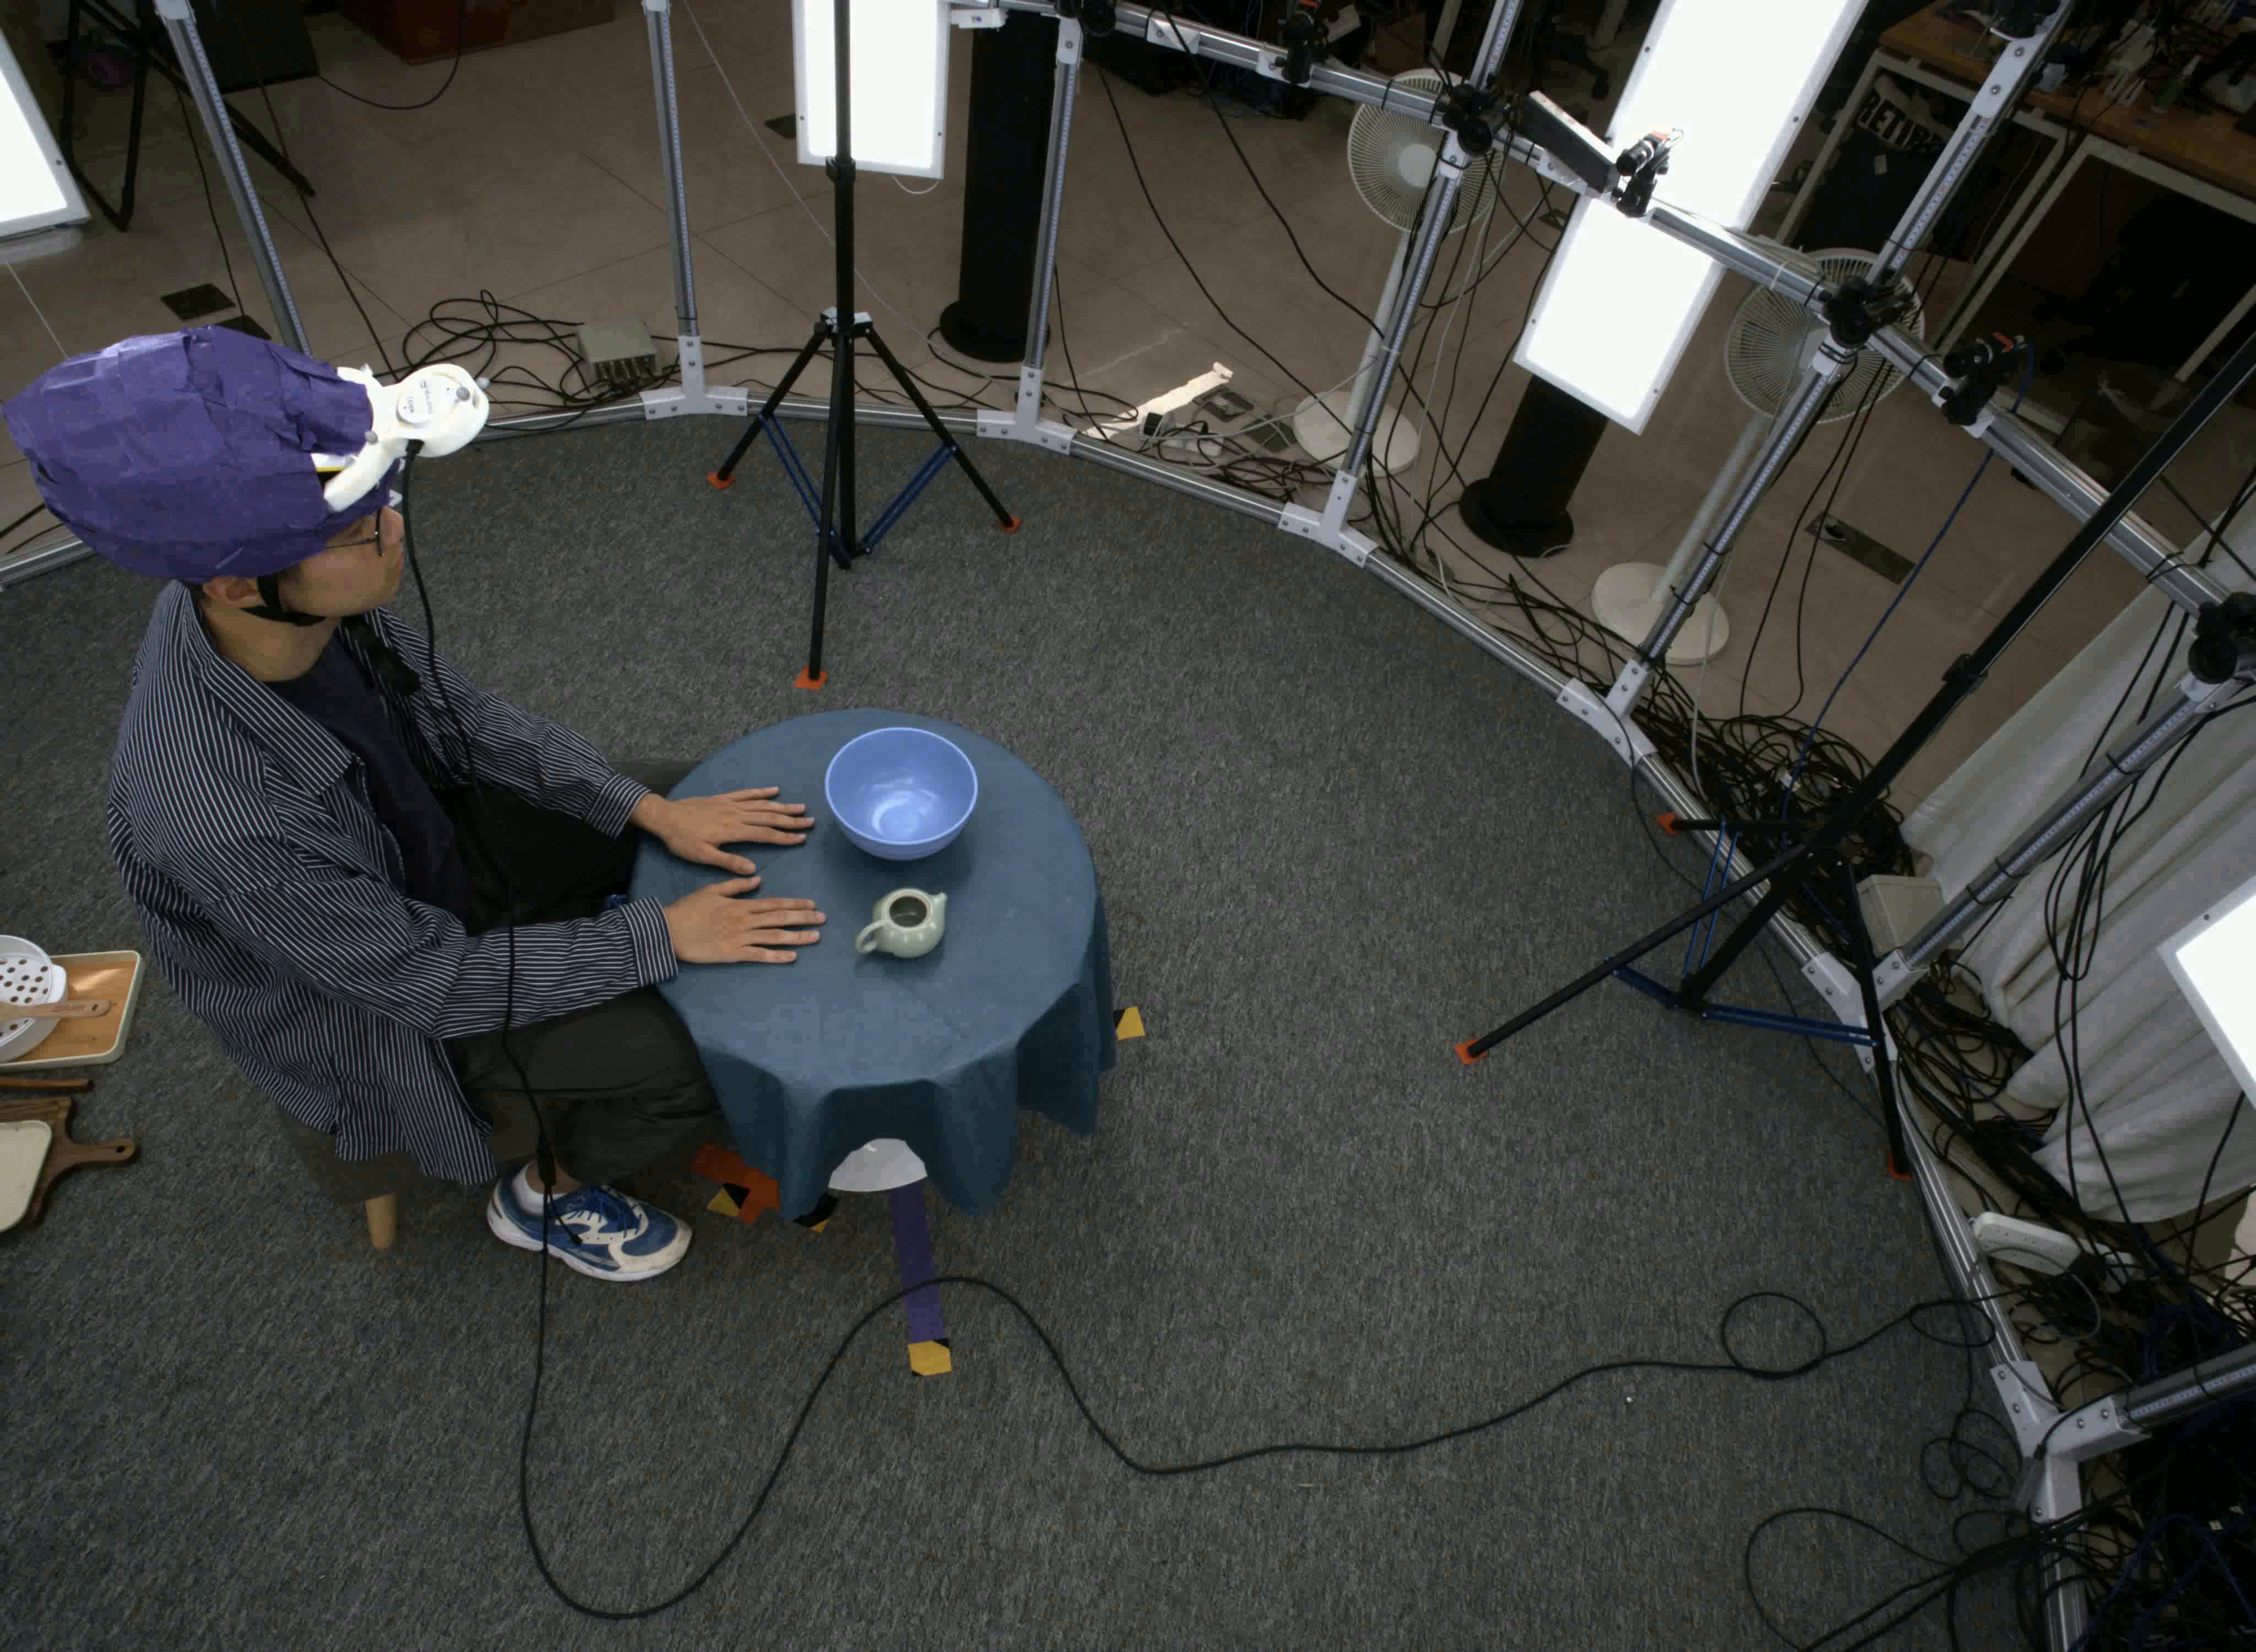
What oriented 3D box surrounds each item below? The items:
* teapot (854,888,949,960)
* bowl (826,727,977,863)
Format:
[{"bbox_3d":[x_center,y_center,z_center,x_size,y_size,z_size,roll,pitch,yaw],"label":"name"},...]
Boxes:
[{"bbox_3d":[-0.285,0.126,1.643,0.129,0.062,0.089,-20,63,-24],"label":"teapot"},{"bbox_3d":[-0.301,-0.026,1.730,0.196,0.097,0.193,7,53,-8],"label":"bowl"}]
